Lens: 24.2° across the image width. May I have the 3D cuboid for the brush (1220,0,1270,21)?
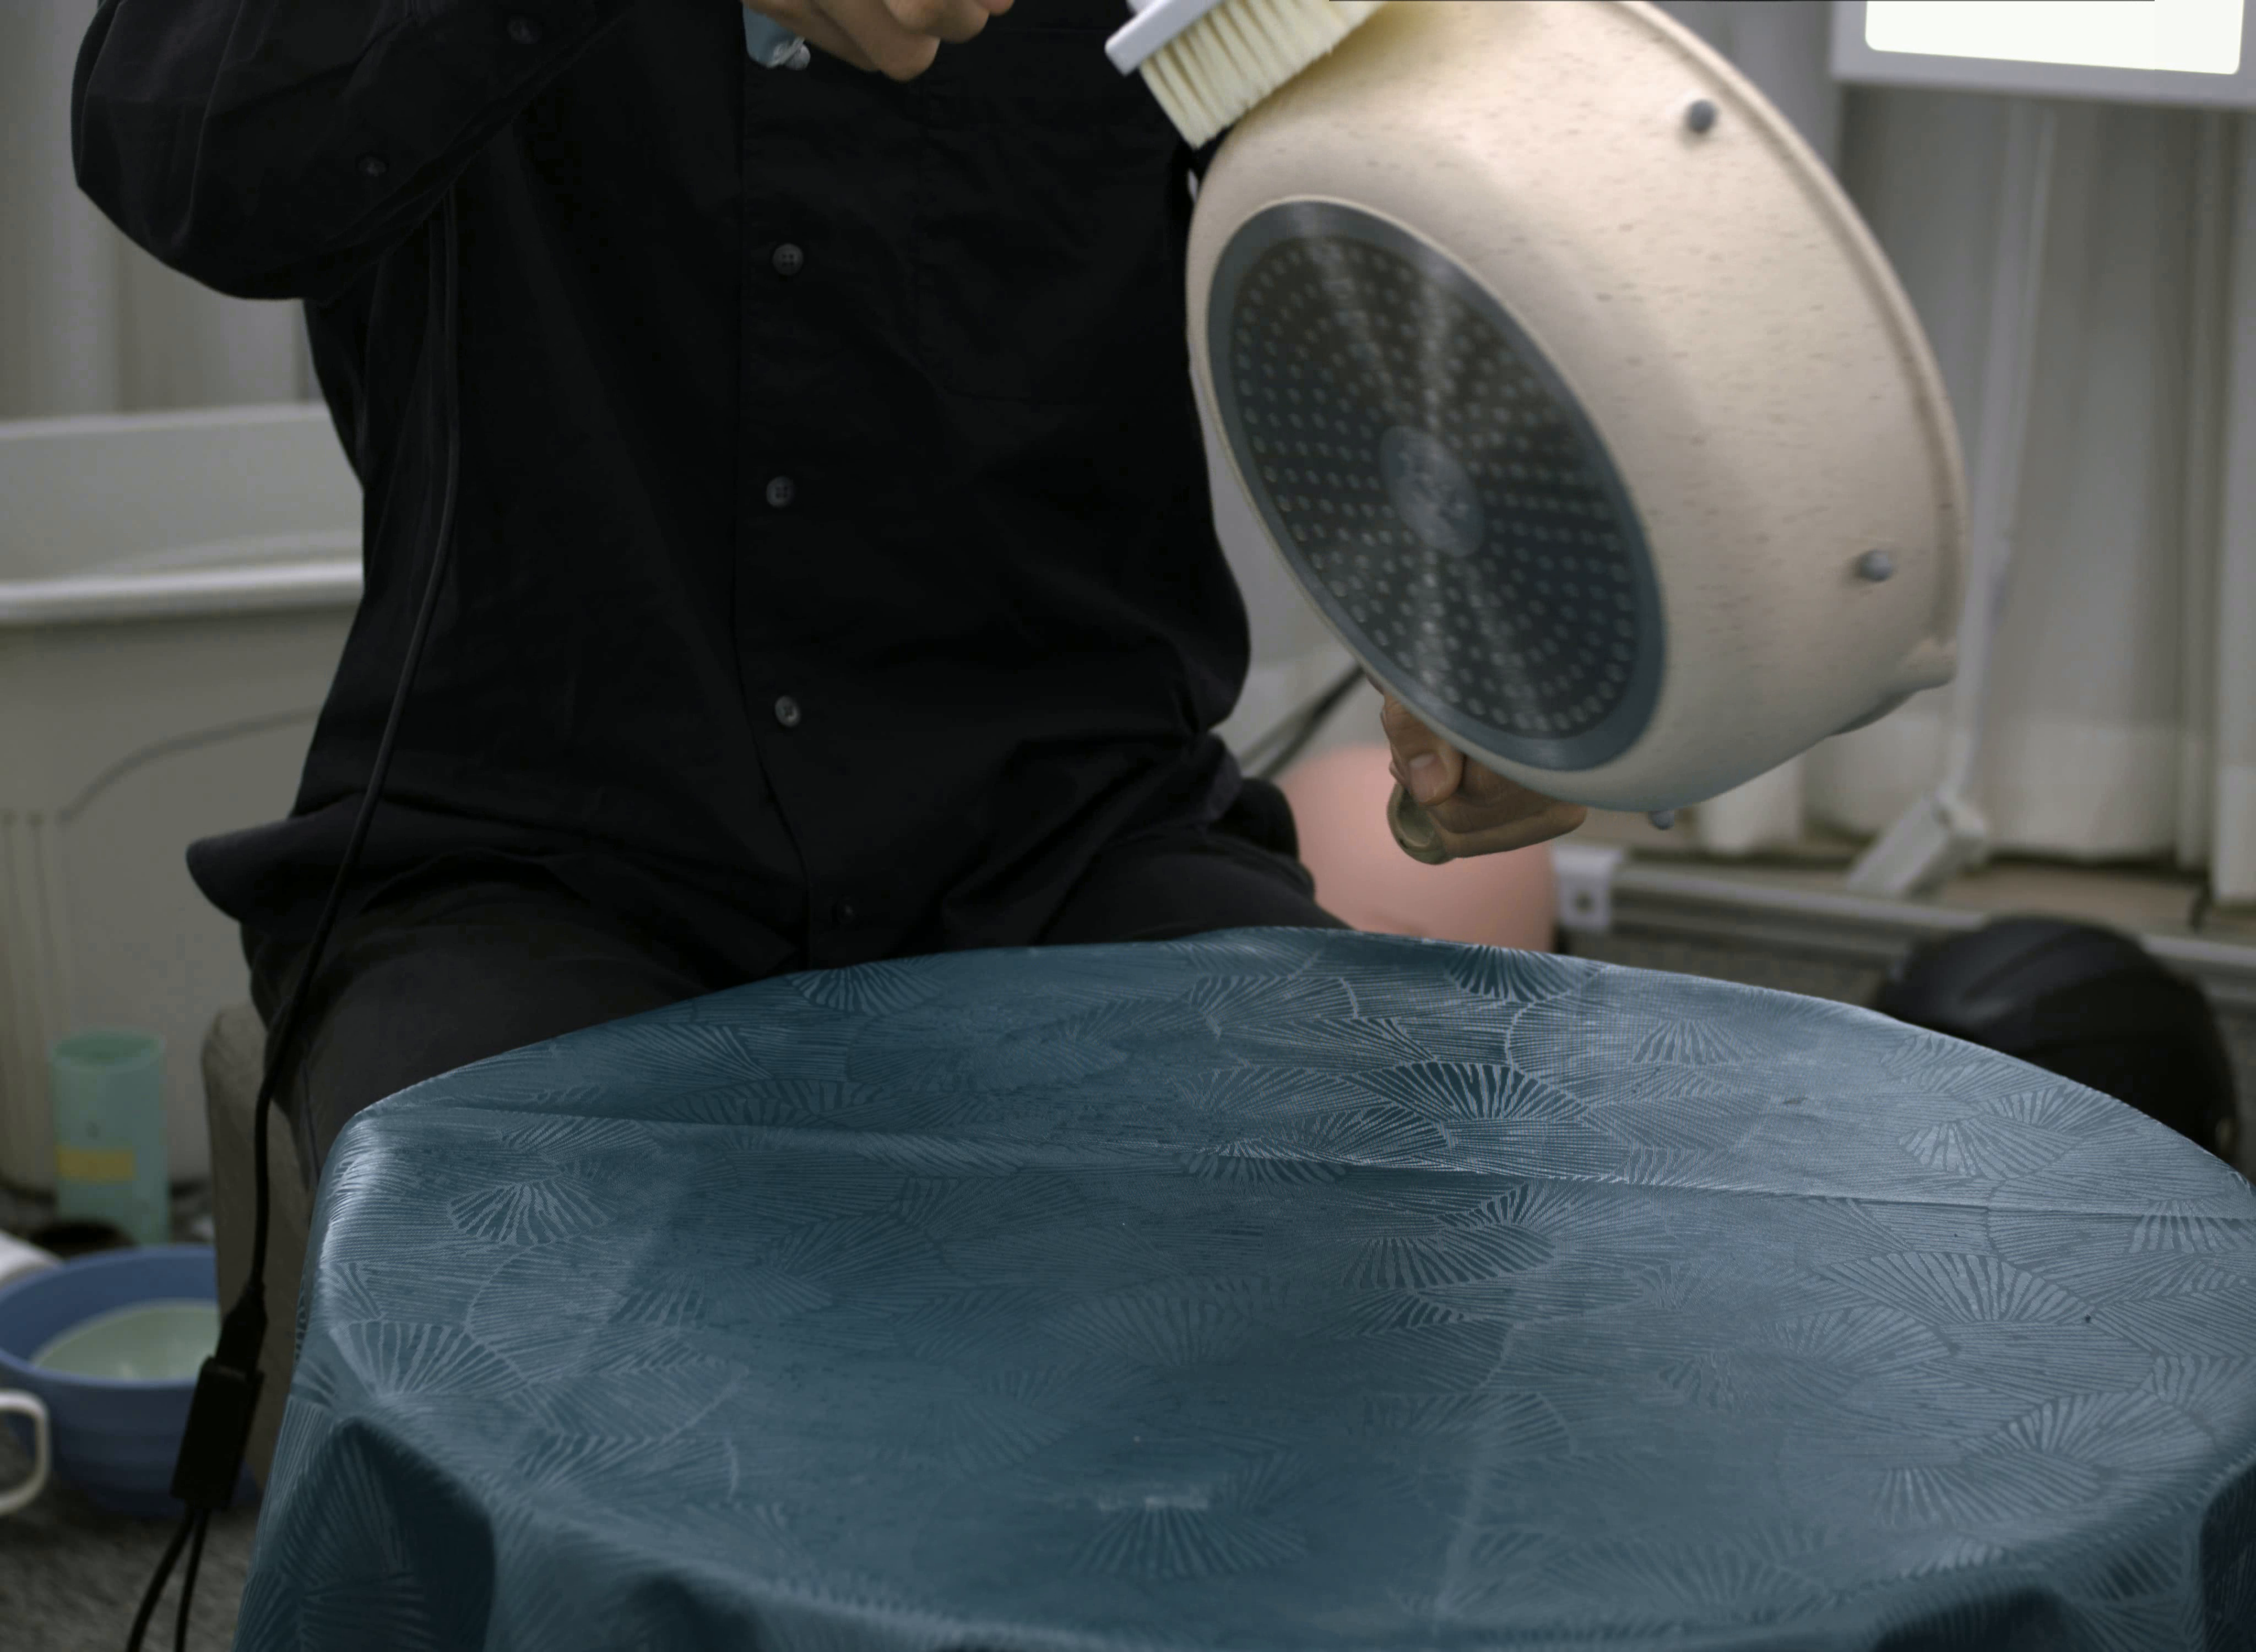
[{"bbox_3d":[0.011,-0.265,1.534,0.083,0.085,0.322,2,-4,-34],"label":"brush"}]

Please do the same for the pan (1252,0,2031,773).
[{"bbox_3d":[0.122,-0.104,1.576,0.102,0.437,0.262,-37,75,-26],"label":"pan"}]
